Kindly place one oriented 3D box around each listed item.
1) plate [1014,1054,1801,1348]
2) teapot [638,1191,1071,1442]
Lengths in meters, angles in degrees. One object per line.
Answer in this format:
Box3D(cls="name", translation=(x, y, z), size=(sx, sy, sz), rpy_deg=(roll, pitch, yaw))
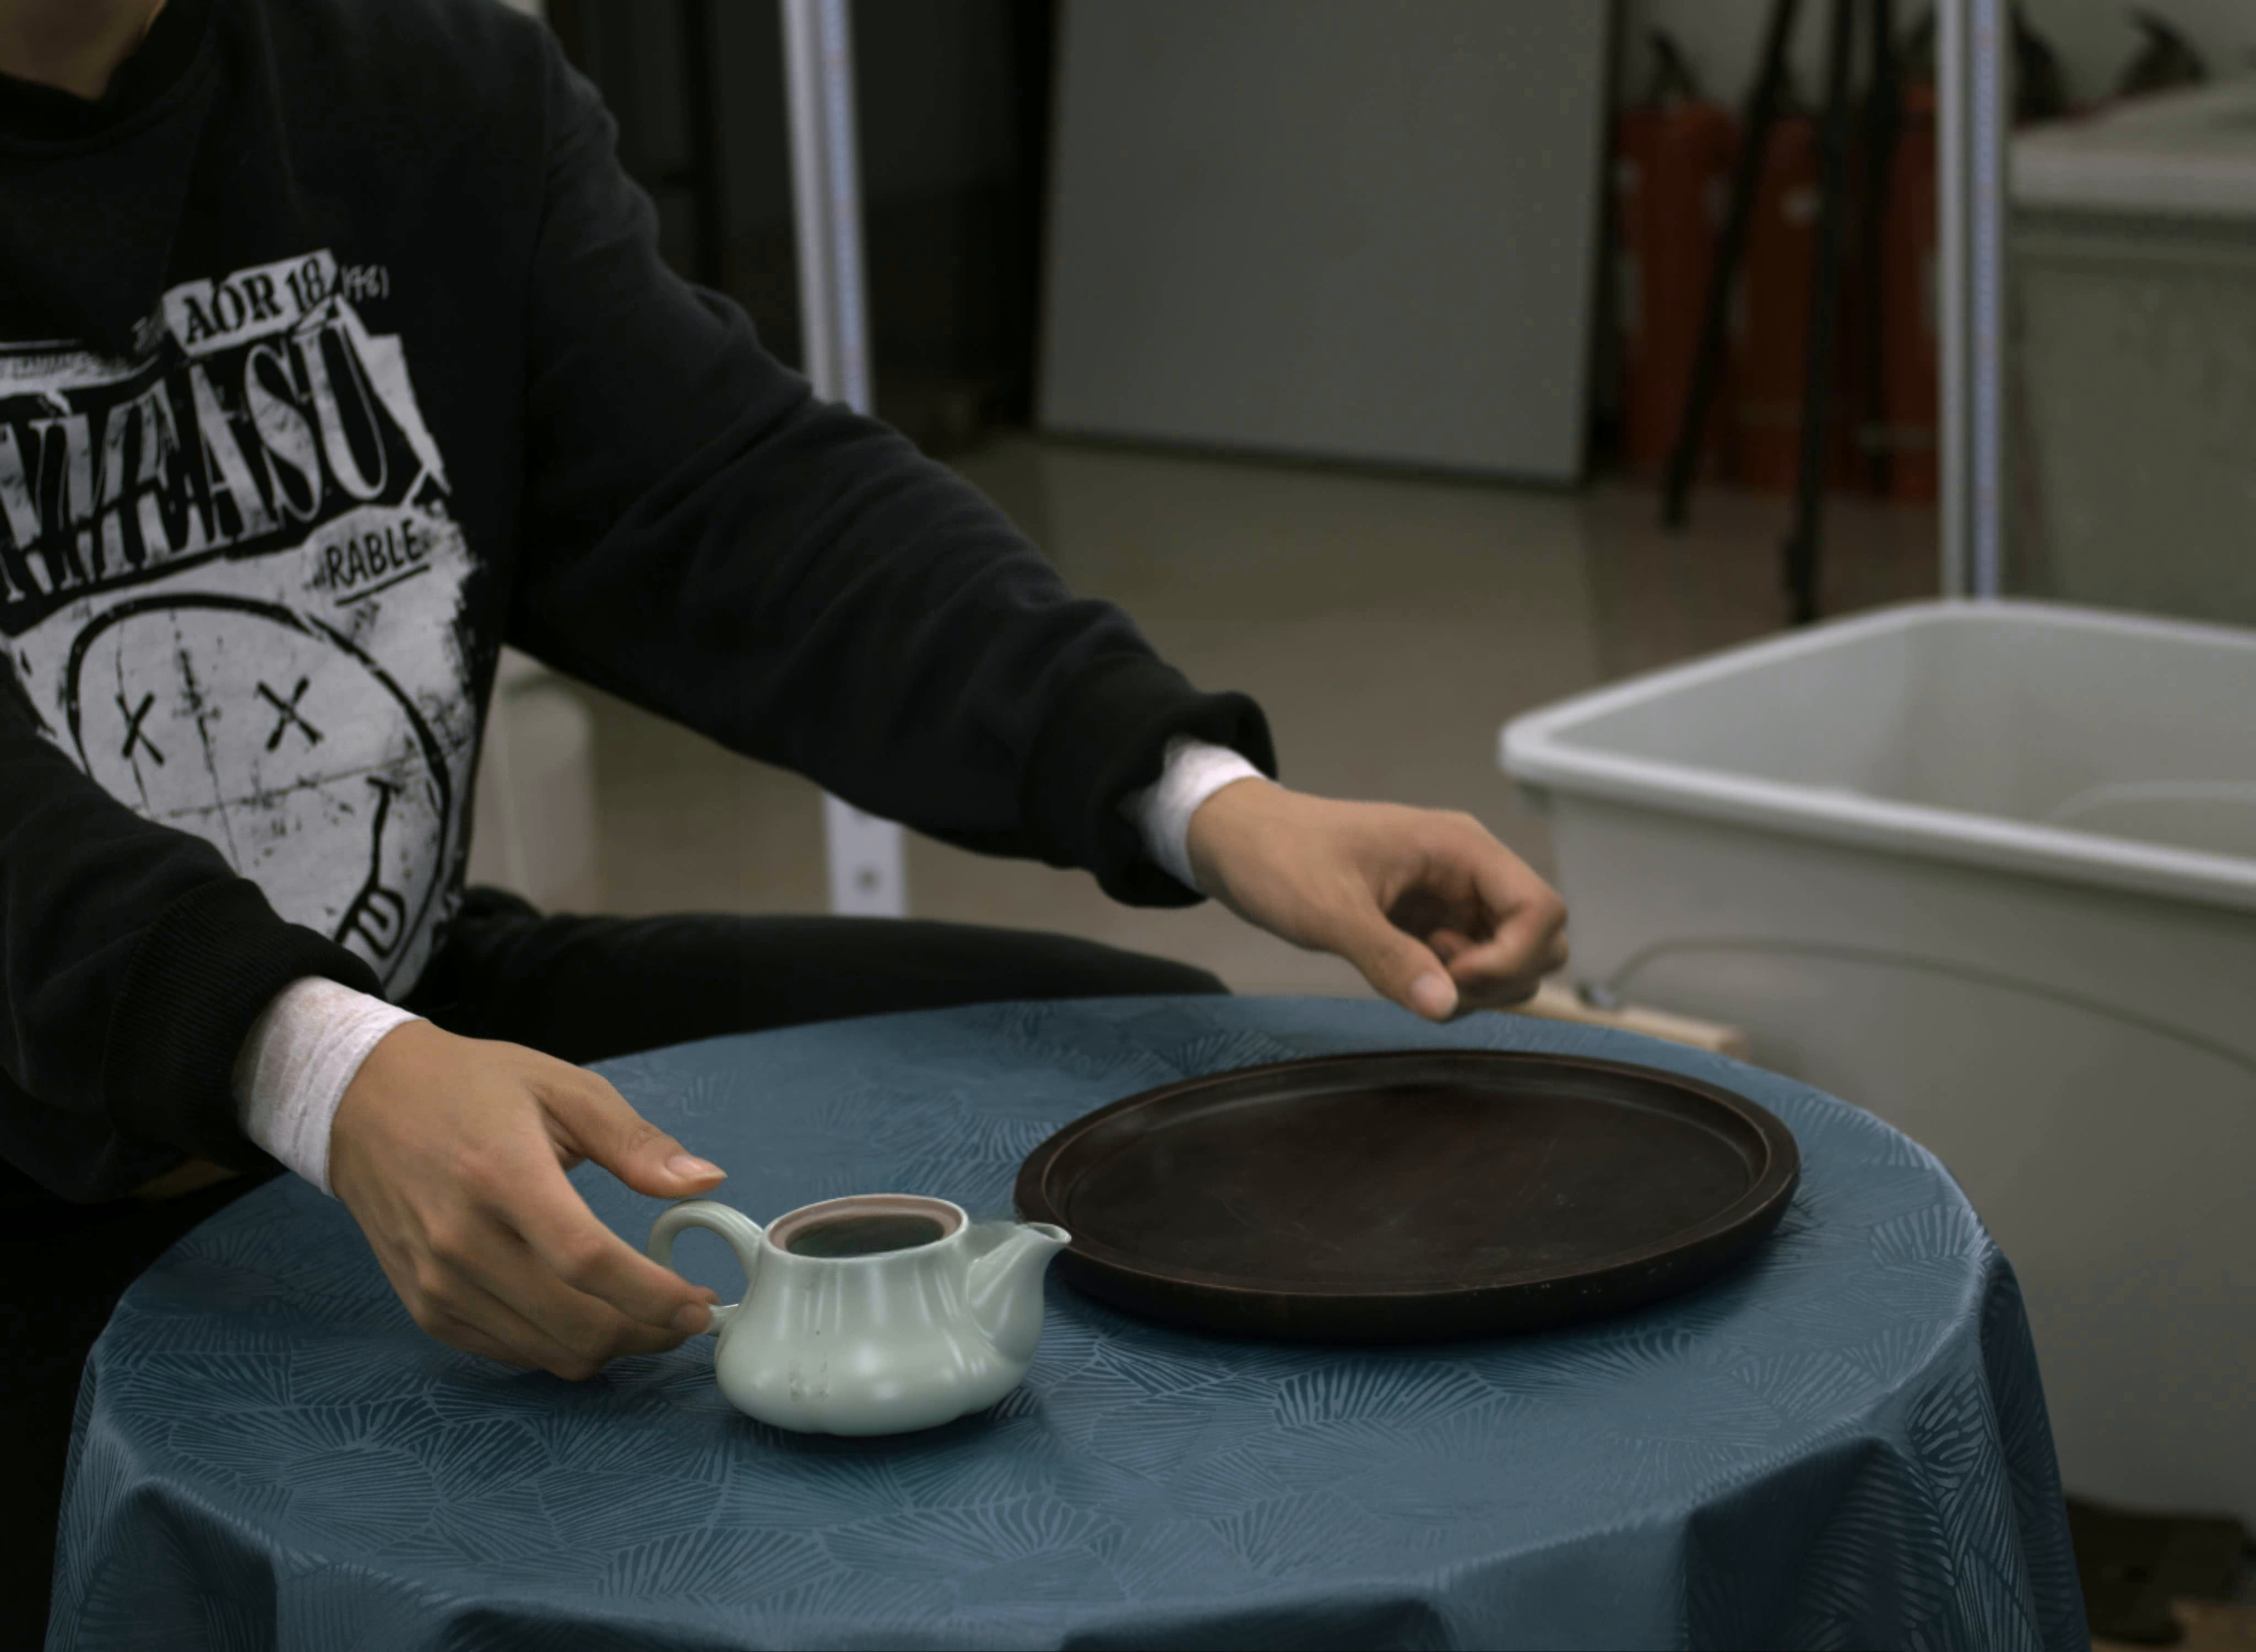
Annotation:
Box3D(cls="plate", translation=(0.089, 0.116, 1.716), size=(0.251, 0.029, 0.255), rpy_deg=(-5, 15, 0))
Box3D(cls="teapot", translation=(-0.079, 0.143, 1.586), size=(0.136, 0.062, 0.095), rpy_deg=(1, 16, 19))
